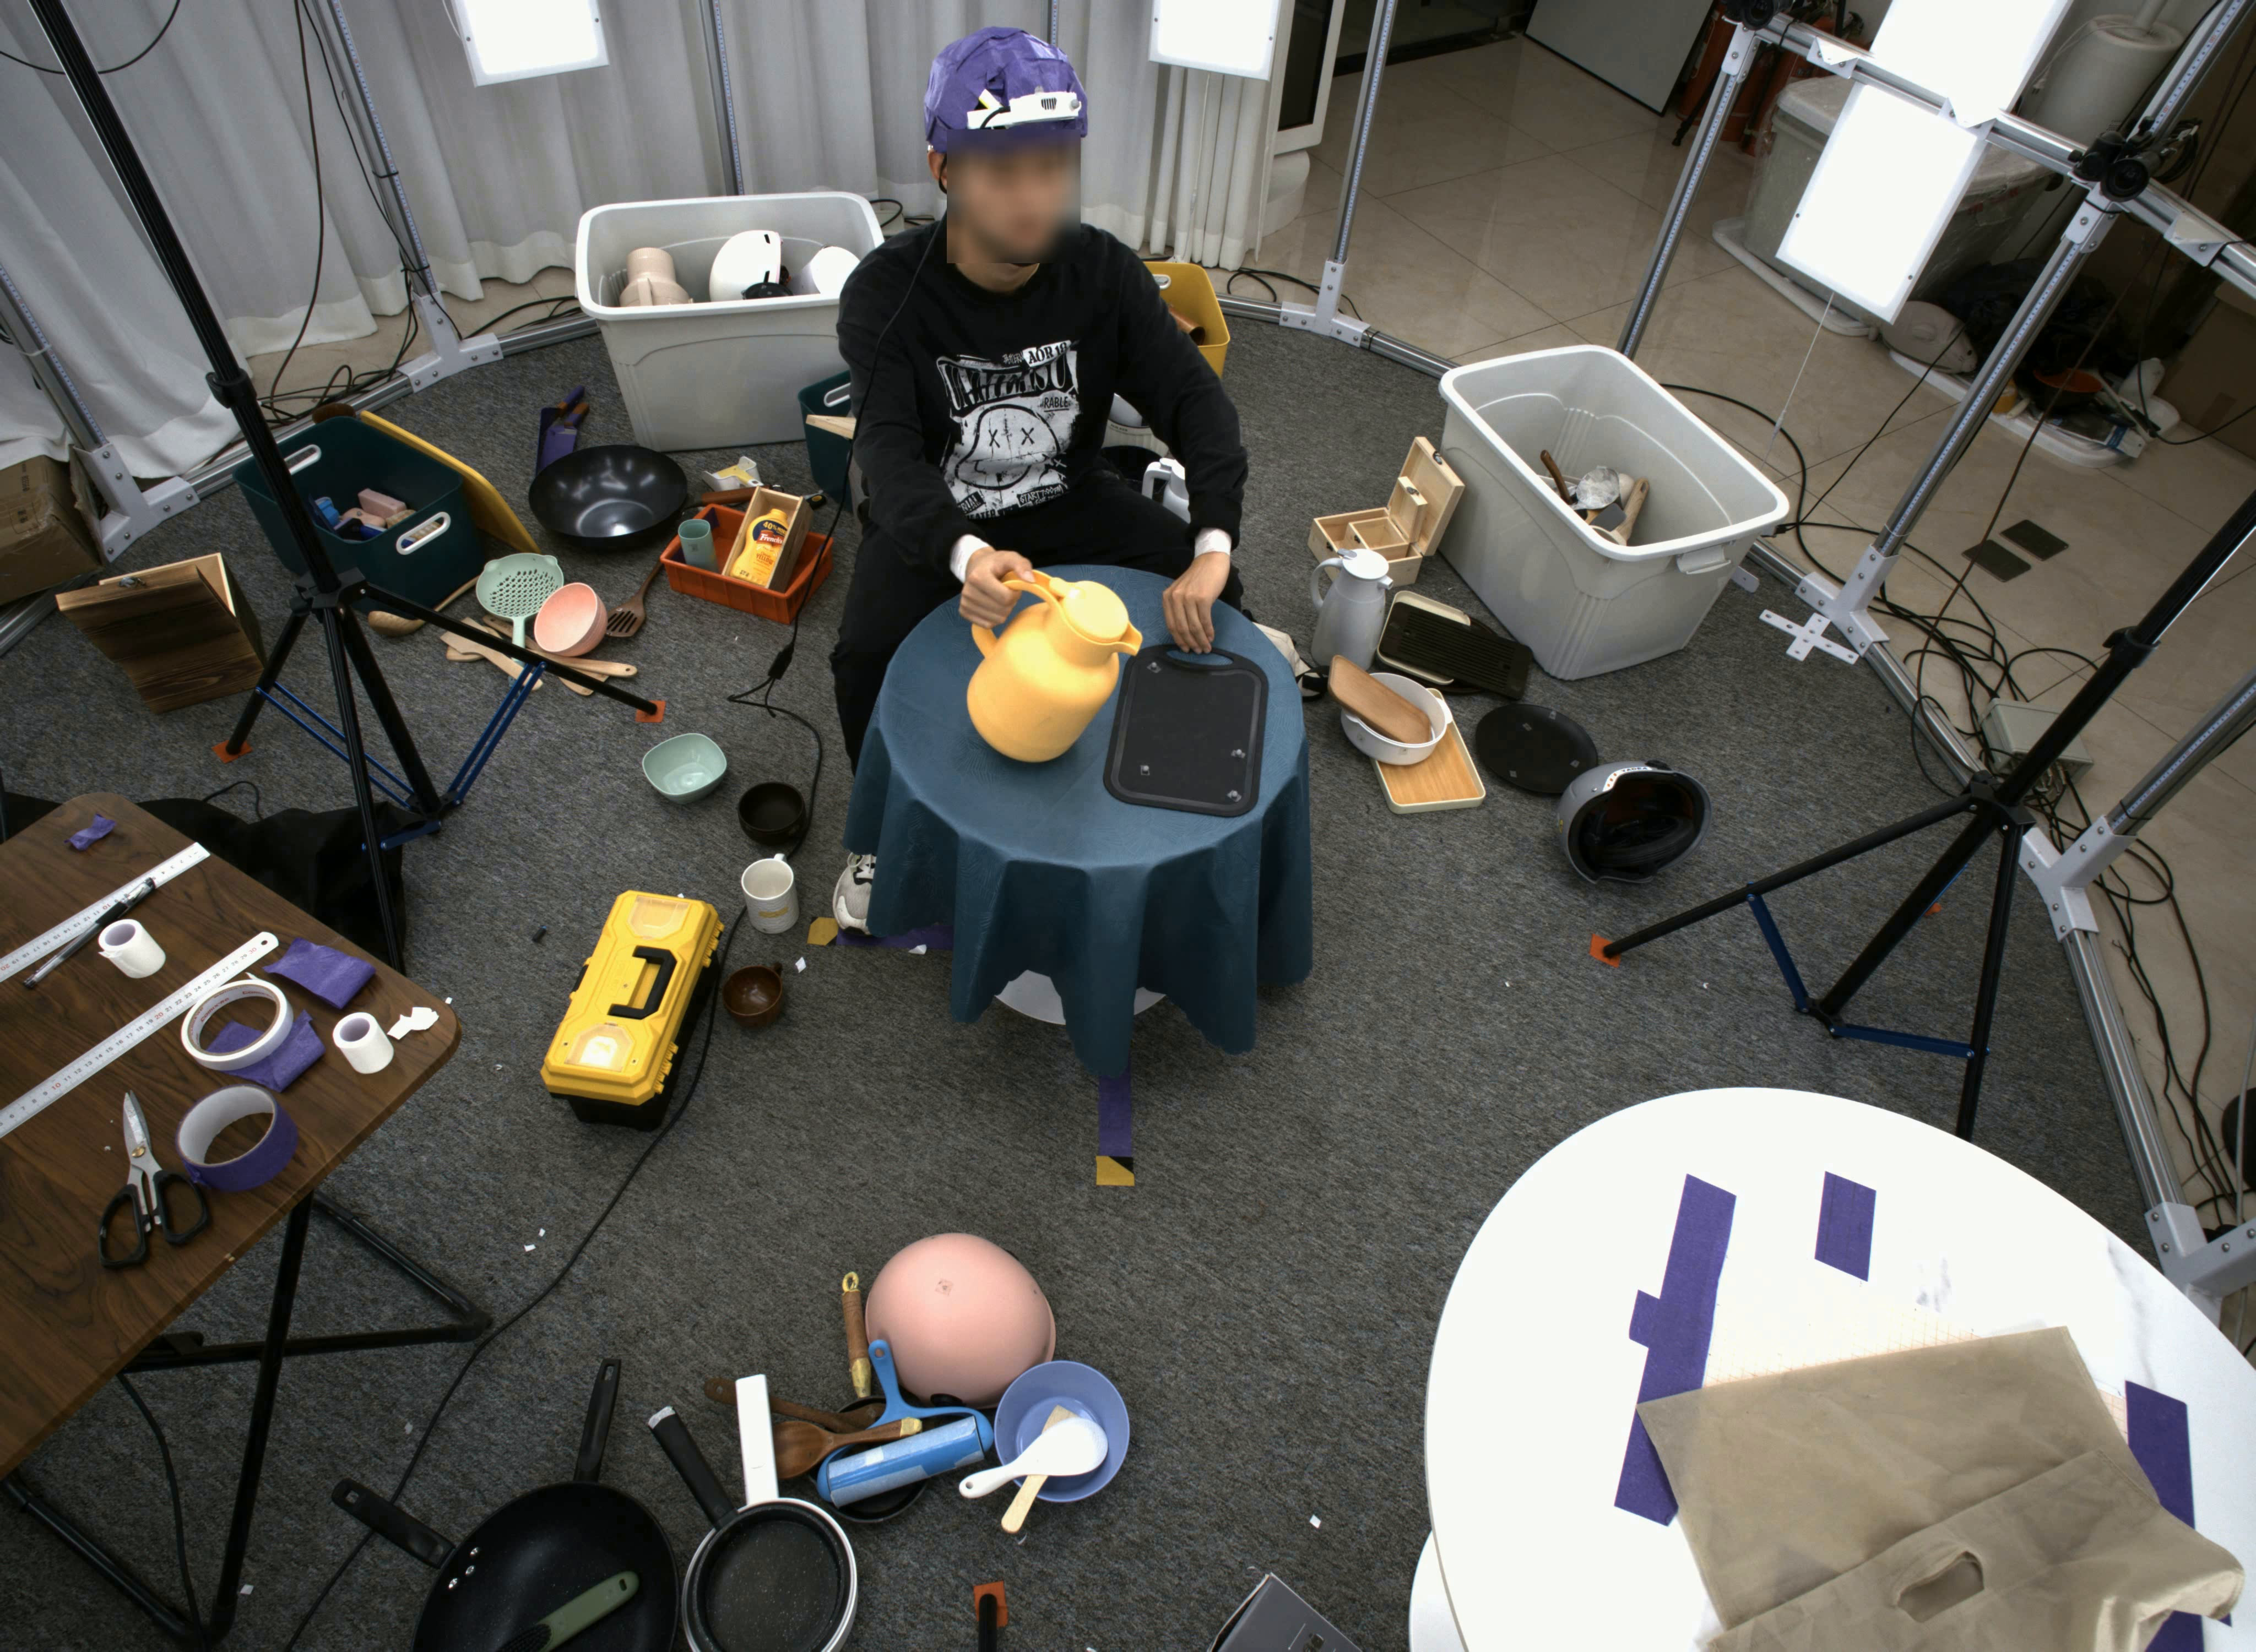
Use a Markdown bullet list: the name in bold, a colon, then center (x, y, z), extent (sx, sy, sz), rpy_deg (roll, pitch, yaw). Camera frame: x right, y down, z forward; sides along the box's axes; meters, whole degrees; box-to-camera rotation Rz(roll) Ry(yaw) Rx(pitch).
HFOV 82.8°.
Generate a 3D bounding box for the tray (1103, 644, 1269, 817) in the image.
- **tray**: center (0.087, -0.146, 1.796), extent (0.211, 0.009, 0.333), rpy_deg (8, 49, 3)

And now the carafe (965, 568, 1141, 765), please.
- **carafe**: center (-0.112, -0.215, 1.656), extent (0.201, 0.256, 0.167), rpy_deg (34, 46, -8)
